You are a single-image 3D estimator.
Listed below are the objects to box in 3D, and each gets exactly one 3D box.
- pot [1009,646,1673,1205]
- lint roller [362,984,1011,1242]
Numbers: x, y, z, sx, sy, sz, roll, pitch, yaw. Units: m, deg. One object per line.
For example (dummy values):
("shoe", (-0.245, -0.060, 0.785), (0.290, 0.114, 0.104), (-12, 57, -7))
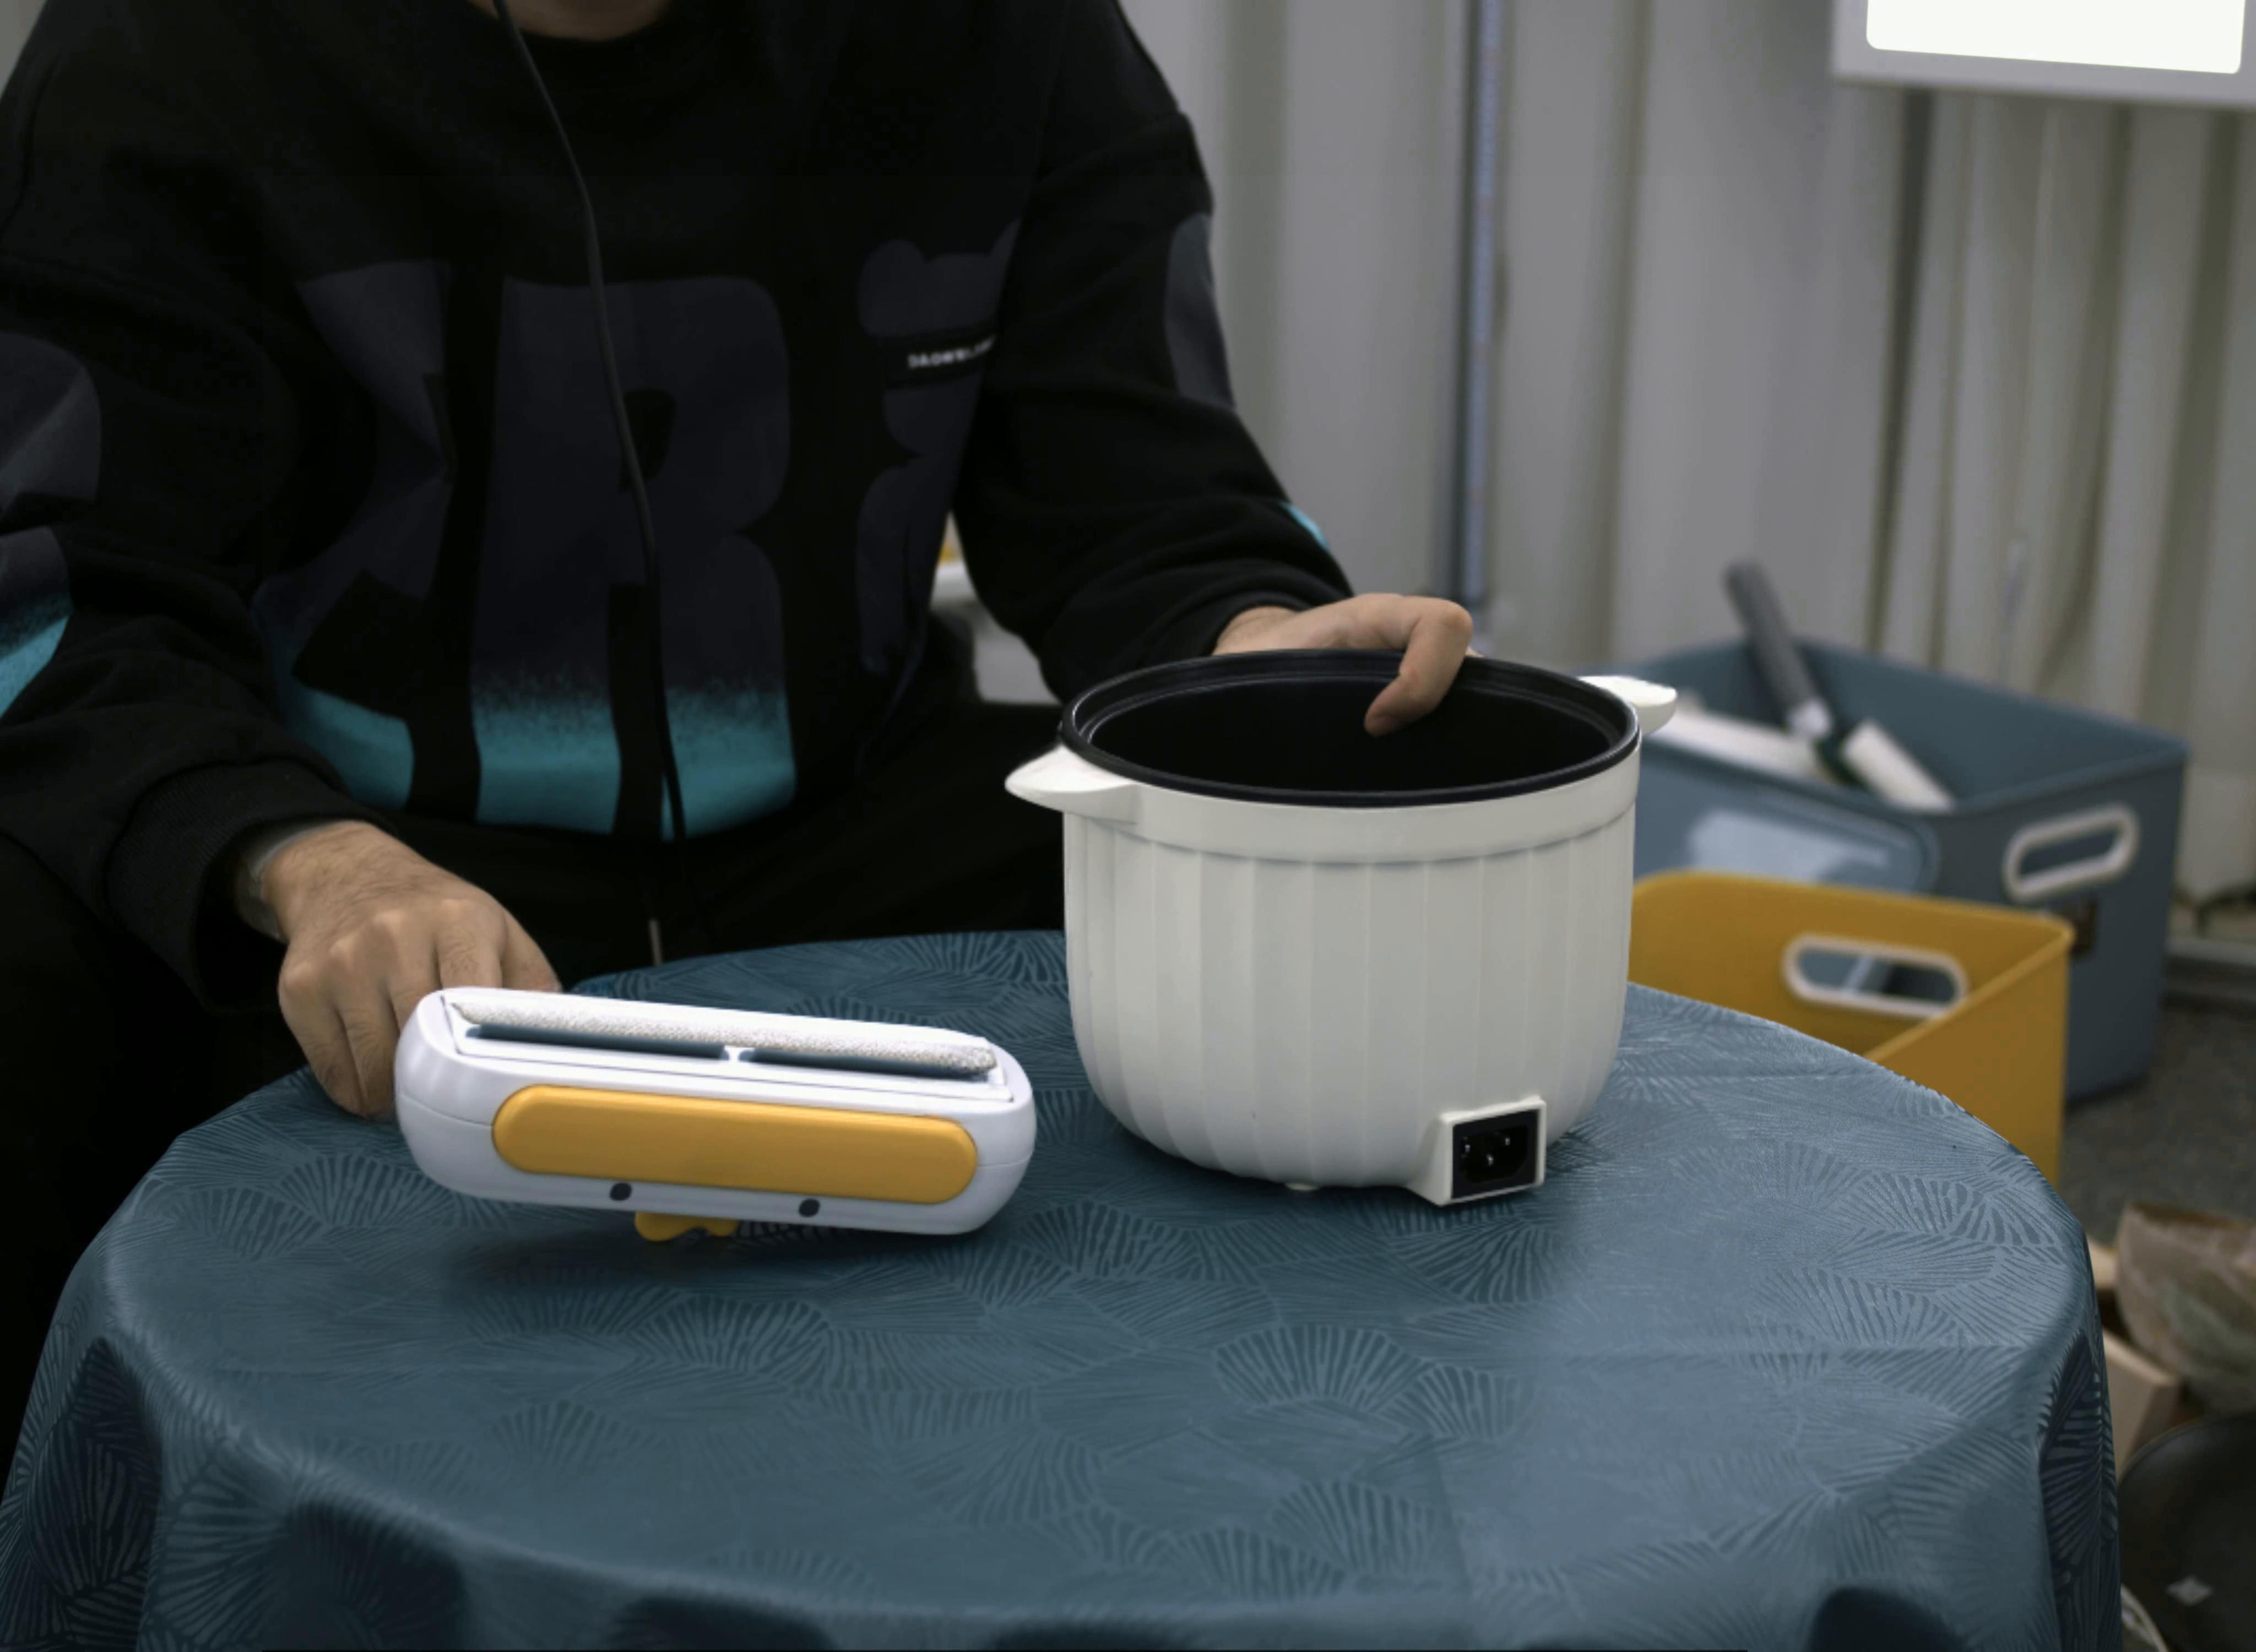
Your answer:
("pot", (0.065, 0.029, 1.661), (0.241, 0.144, 0.188), (-8, 20, -30))
("lint roller", (-0.142, 0.077, 1.615), (0.193, 0.075, 0.191), (2, 13, -13))
